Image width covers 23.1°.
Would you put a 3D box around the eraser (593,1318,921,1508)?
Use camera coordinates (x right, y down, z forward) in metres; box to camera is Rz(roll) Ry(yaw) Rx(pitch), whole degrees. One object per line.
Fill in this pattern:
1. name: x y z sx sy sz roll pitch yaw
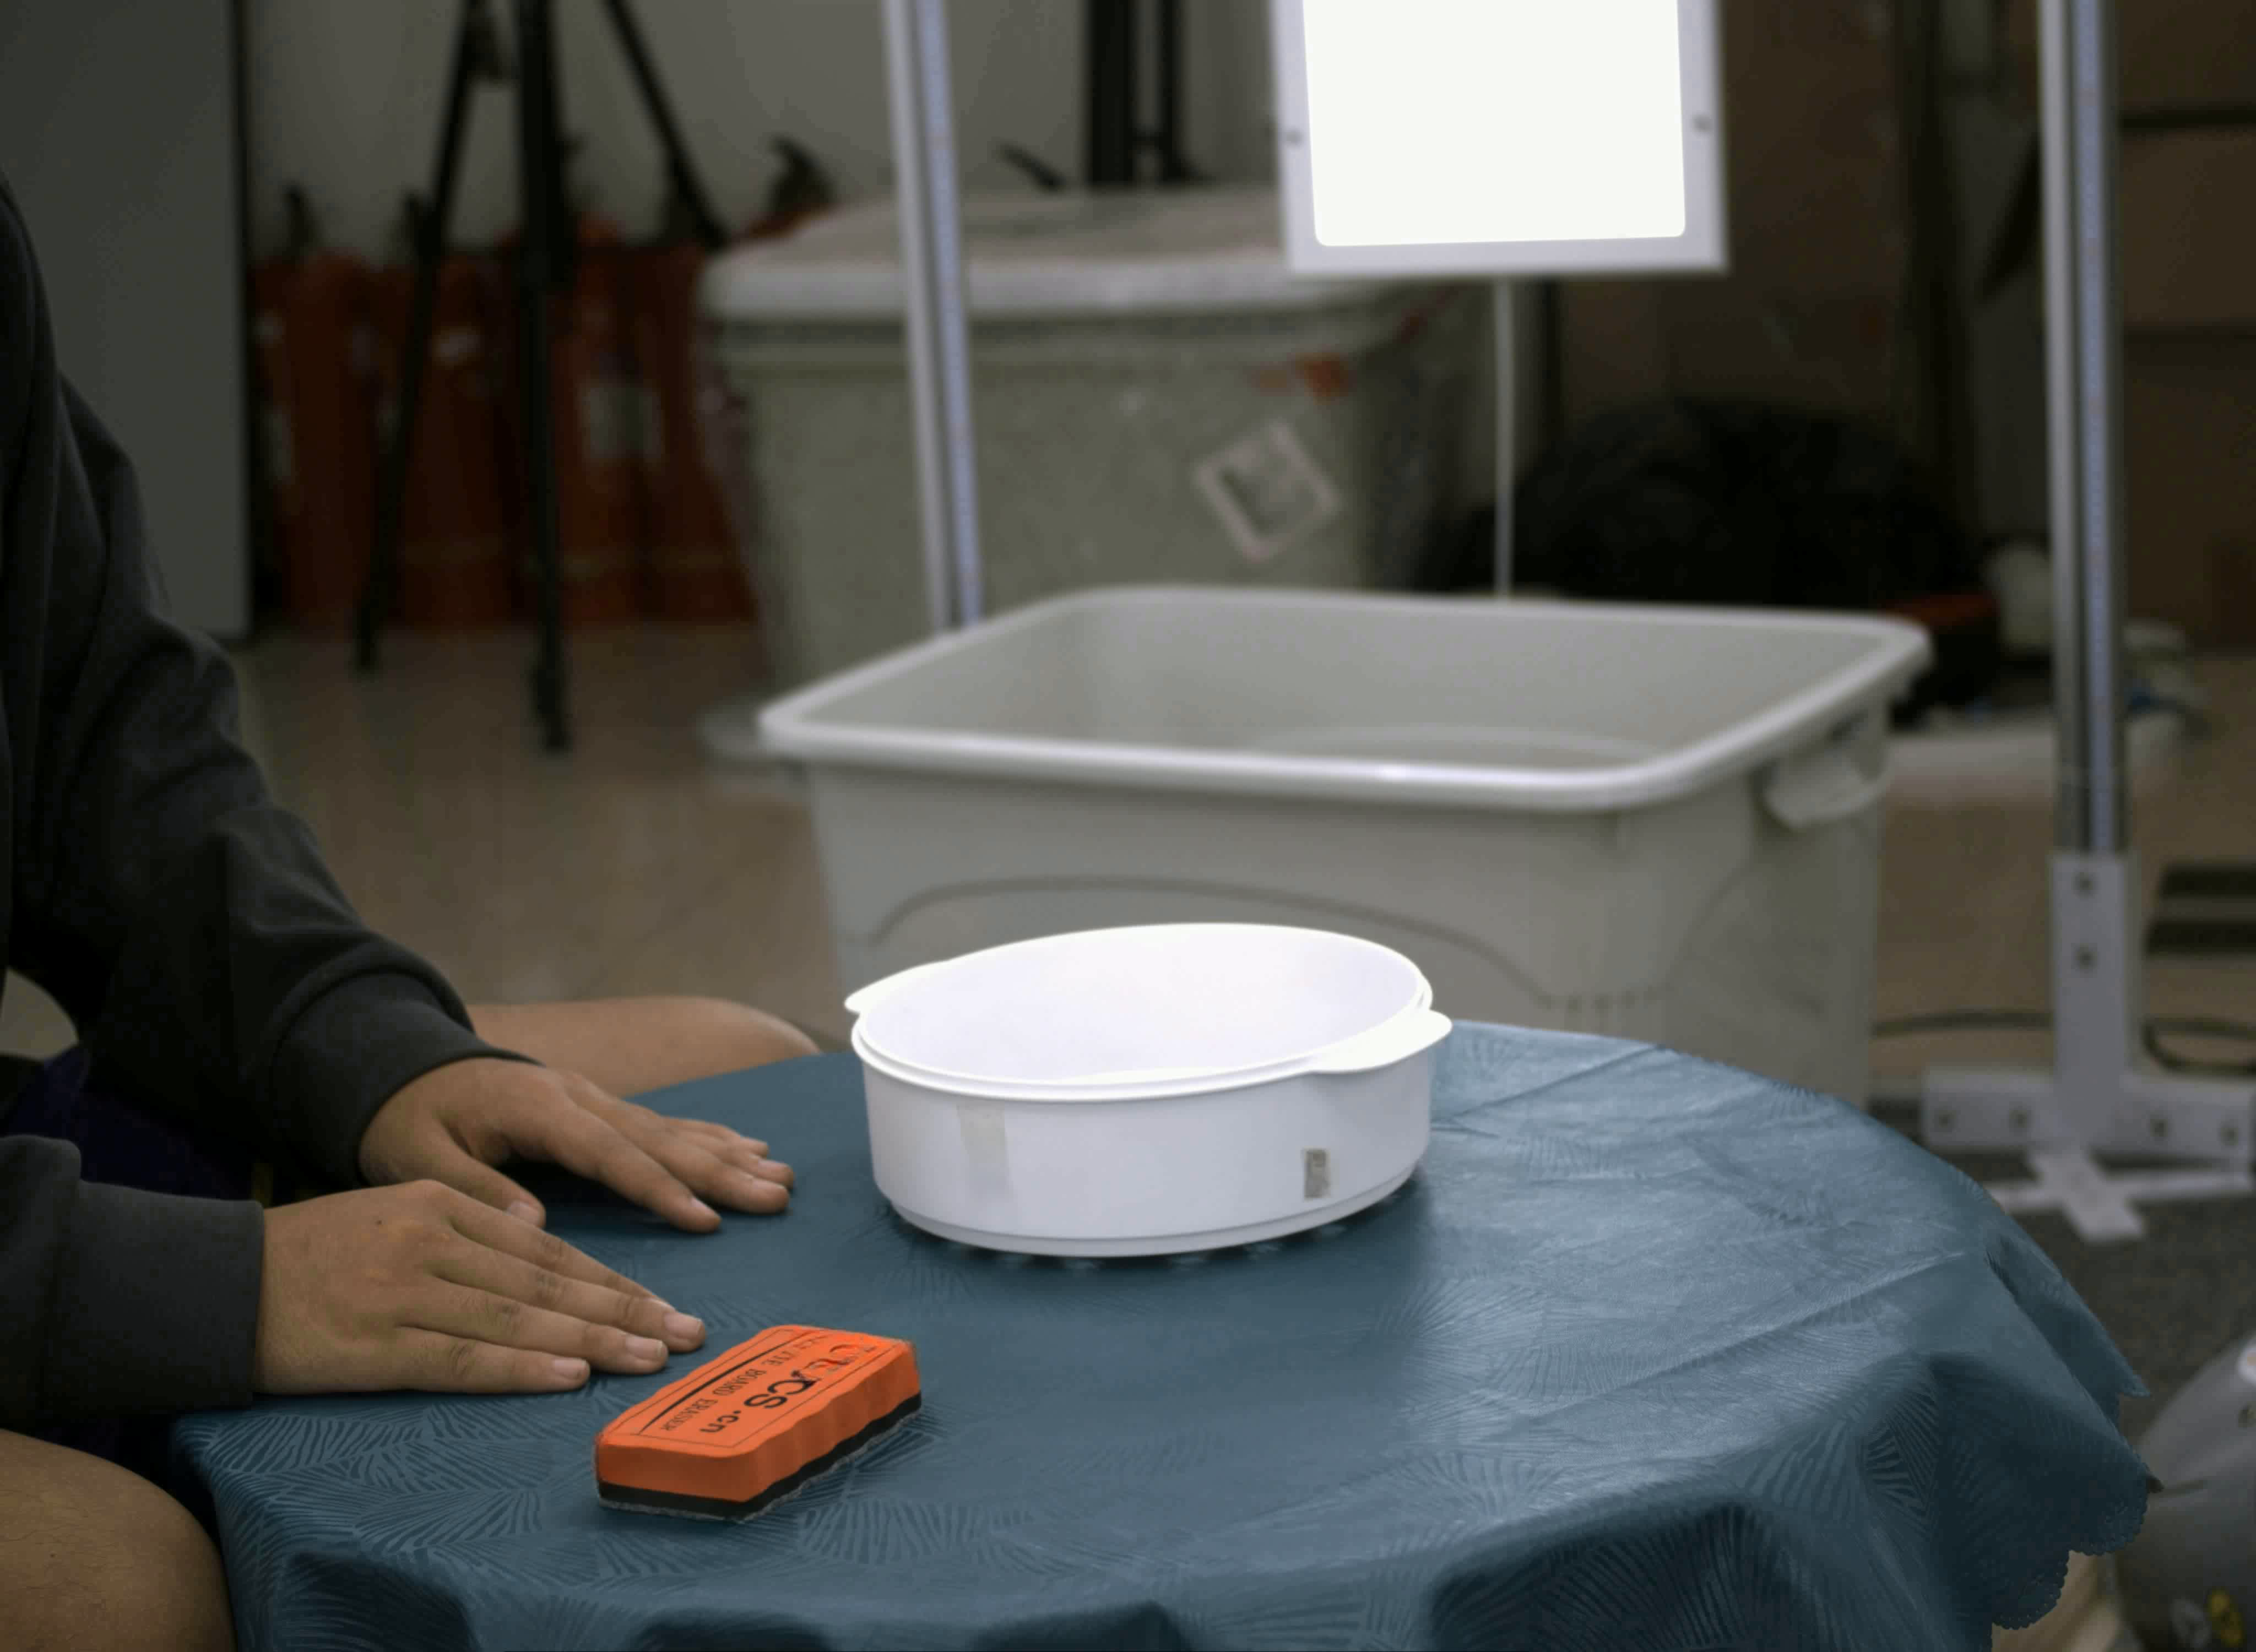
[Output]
1. eraser: -0.111 0.177 1.669 0.060 0.023 0.105 -3 14 31

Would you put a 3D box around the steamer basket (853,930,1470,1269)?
1. steamer basket: 0.011 0.094 1.893 0.235 0.069 0.197 6 18 35
